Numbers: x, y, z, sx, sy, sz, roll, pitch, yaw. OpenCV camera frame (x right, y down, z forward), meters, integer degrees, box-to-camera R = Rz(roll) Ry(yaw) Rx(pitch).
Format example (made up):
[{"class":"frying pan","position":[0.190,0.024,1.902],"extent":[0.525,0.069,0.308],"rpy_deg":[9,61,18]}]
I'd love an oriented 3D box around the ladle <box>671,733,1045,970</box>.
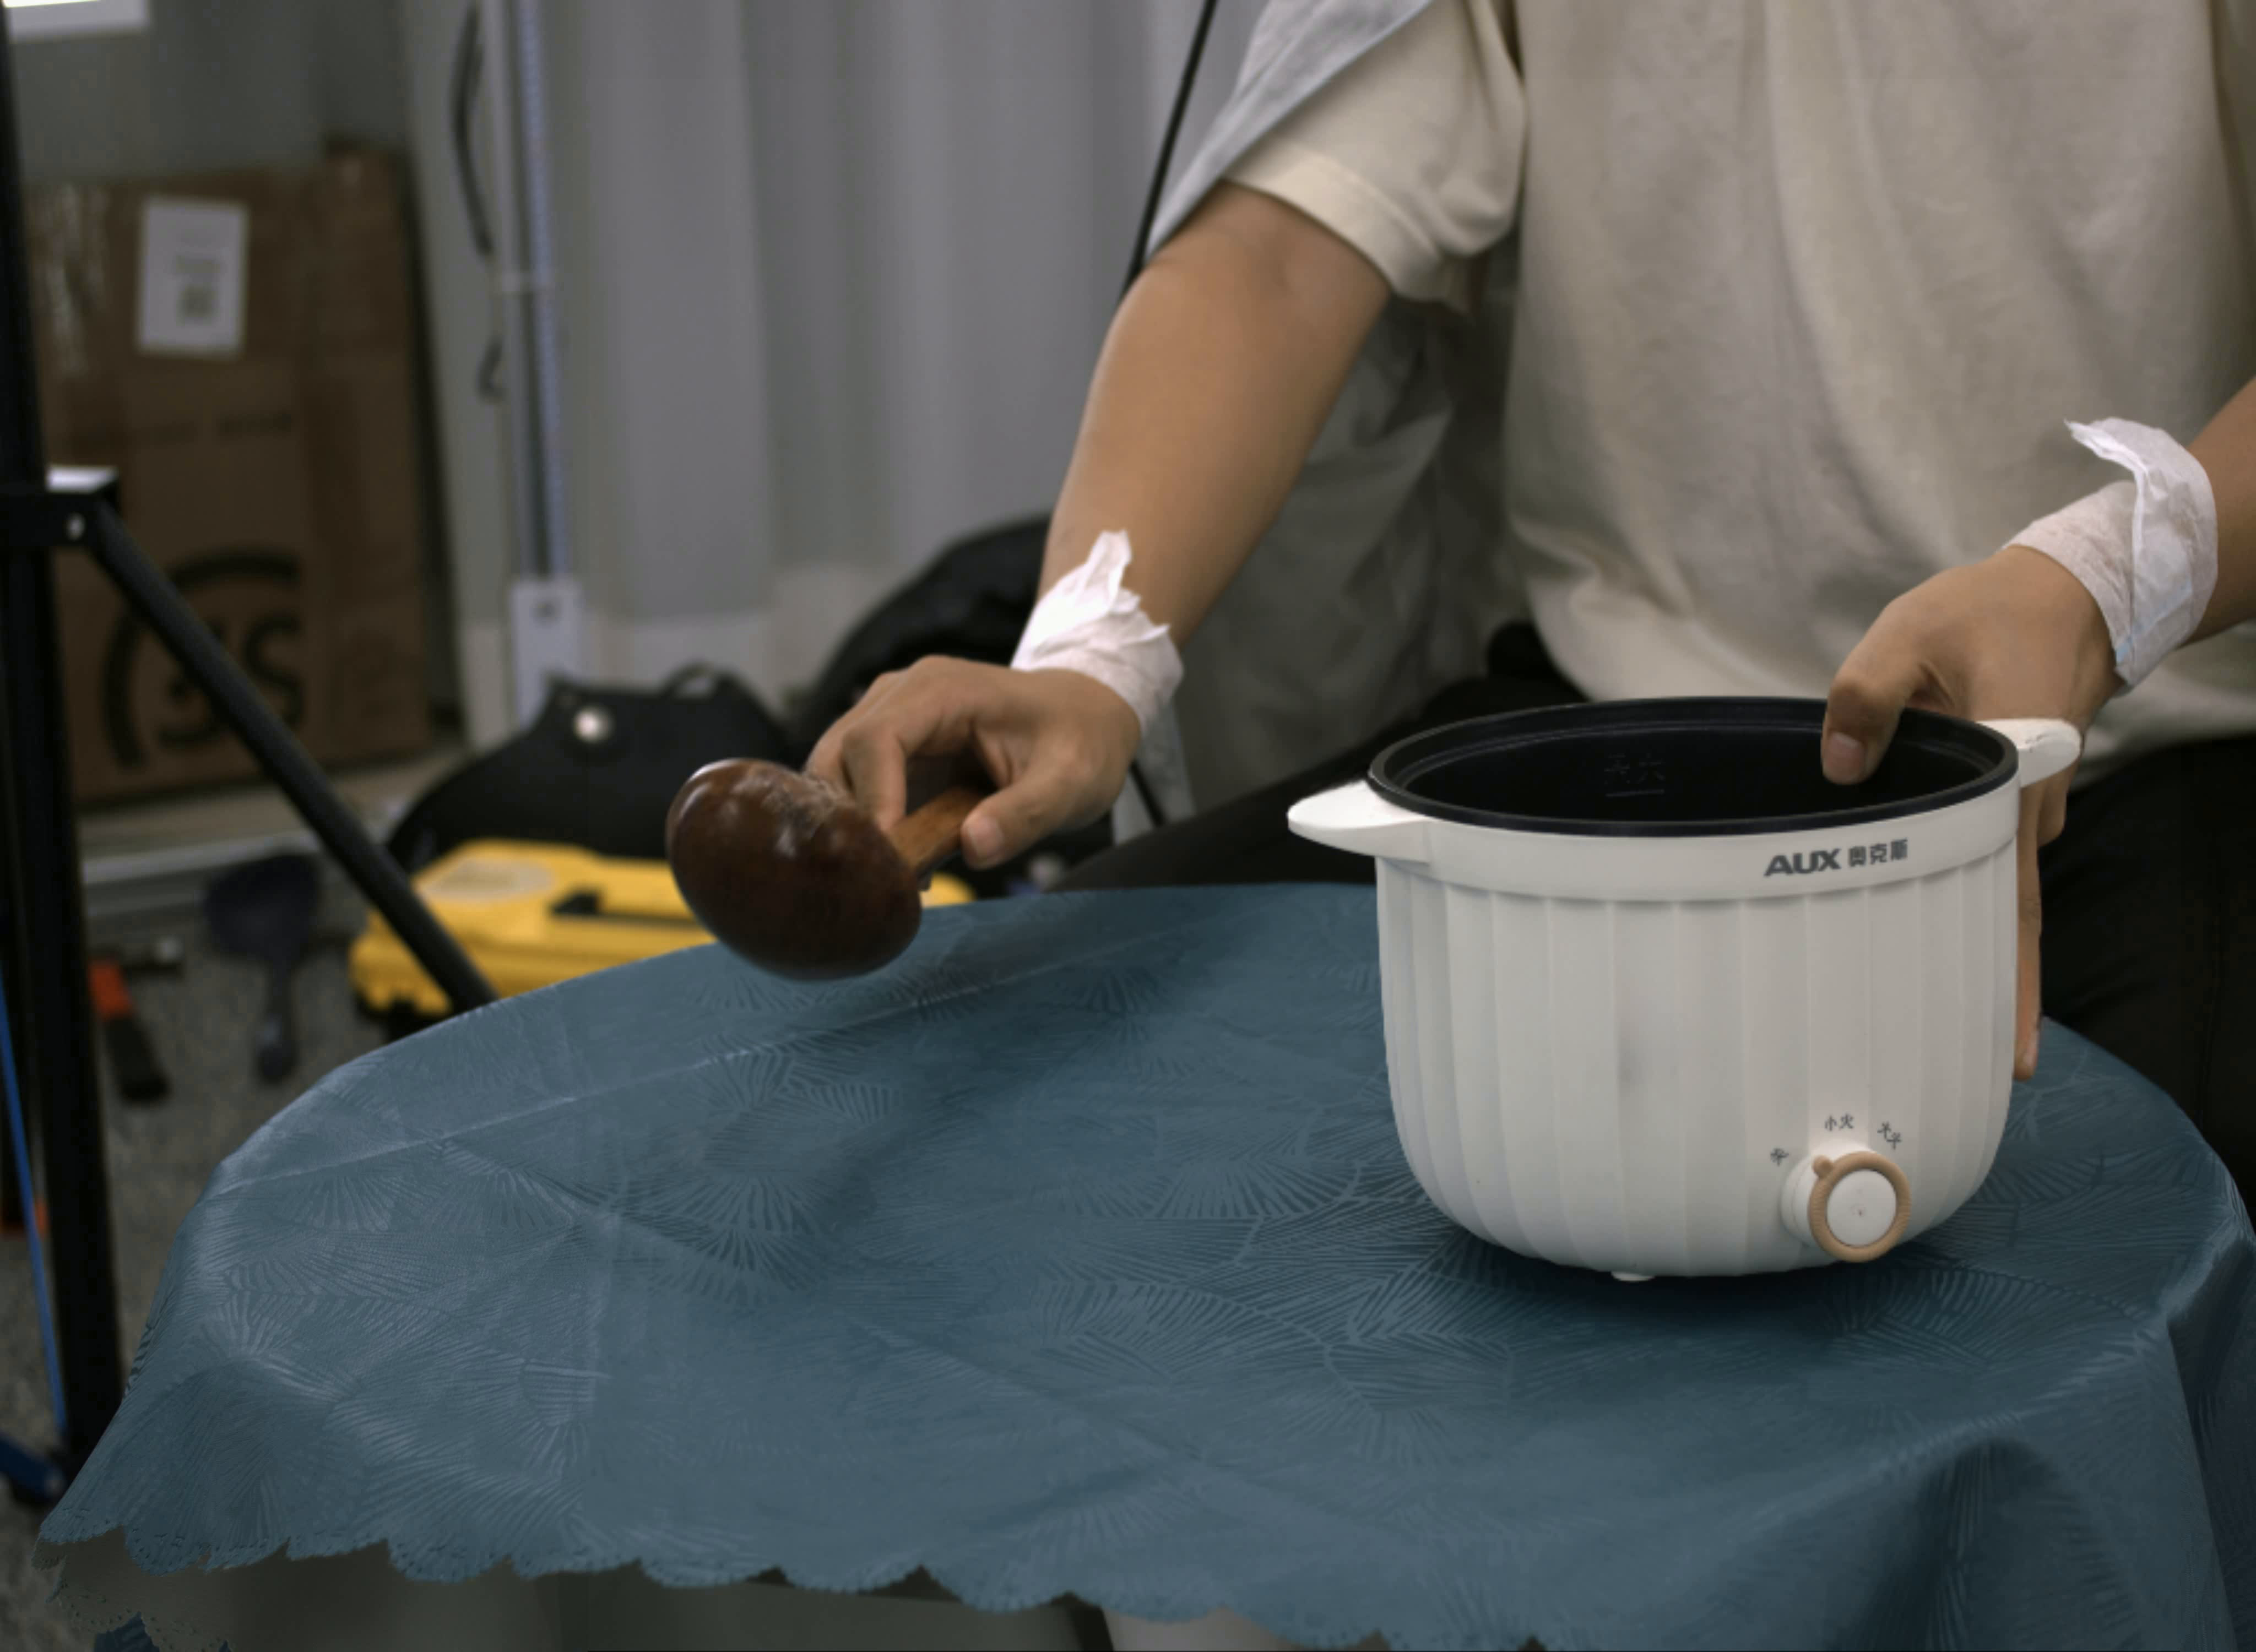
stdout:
[{"class":"ladle","position":[-0.067,-0.009,1.641],"extent":[0.082,0.077,0.271],"rpy_deg":[31,18,10]}]

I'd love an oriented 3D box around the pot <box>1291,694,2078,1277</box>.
[{"class":"pot","position":[0.164,0.045,1.481],"extent":[0.236,0.143,0.193],"rpy_deg":[-8,9,-18]}]
